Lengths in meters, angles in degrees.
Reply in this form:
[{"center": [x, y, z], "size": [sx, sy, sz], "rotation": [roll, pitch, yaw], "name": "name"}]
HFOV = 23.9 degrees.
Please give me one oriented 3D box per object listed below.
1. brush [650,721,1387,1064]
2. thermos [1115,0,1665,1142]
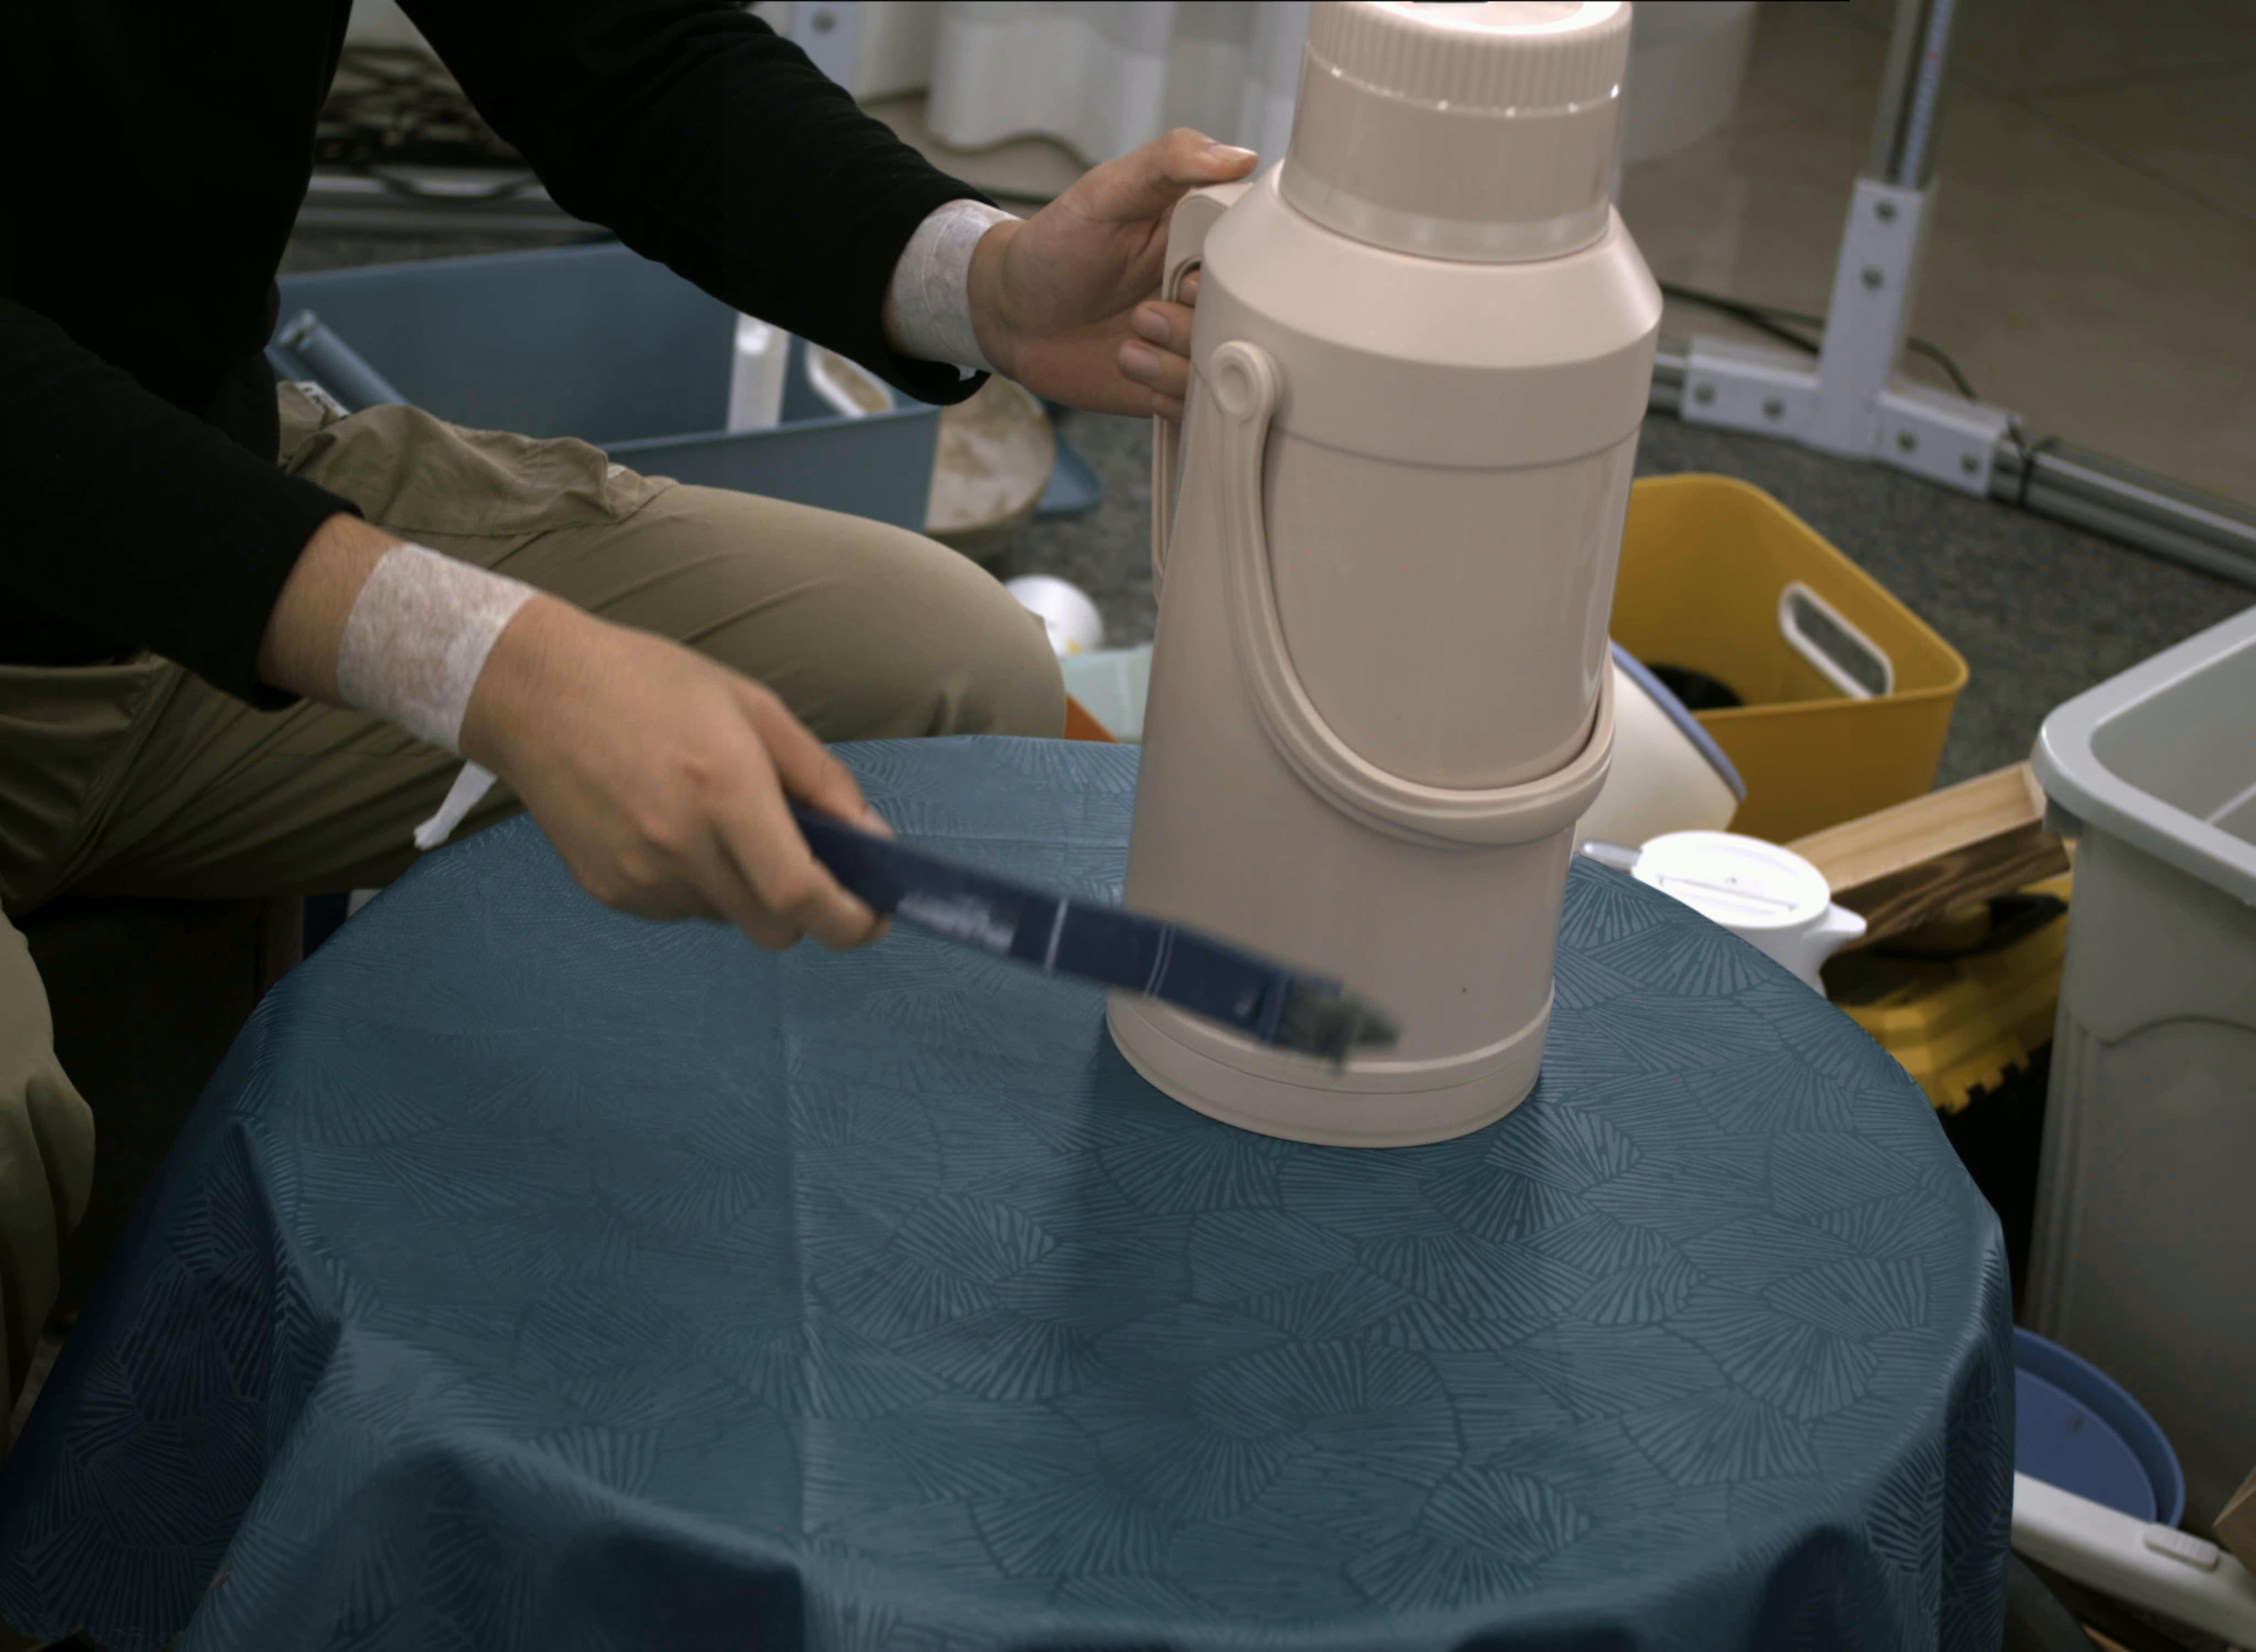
[{"center": [-0.045, 0.020, 1.667], "size": [0.274, 0.033, 0.095], "rotation": [18, 6, 22], "name": "brush"}, {"center": [0.084, -0.107, 1.837], "size": [0.174, 0.405, 0.209], "rotation": [-19, 36, -38], "name": "thermos"}]
